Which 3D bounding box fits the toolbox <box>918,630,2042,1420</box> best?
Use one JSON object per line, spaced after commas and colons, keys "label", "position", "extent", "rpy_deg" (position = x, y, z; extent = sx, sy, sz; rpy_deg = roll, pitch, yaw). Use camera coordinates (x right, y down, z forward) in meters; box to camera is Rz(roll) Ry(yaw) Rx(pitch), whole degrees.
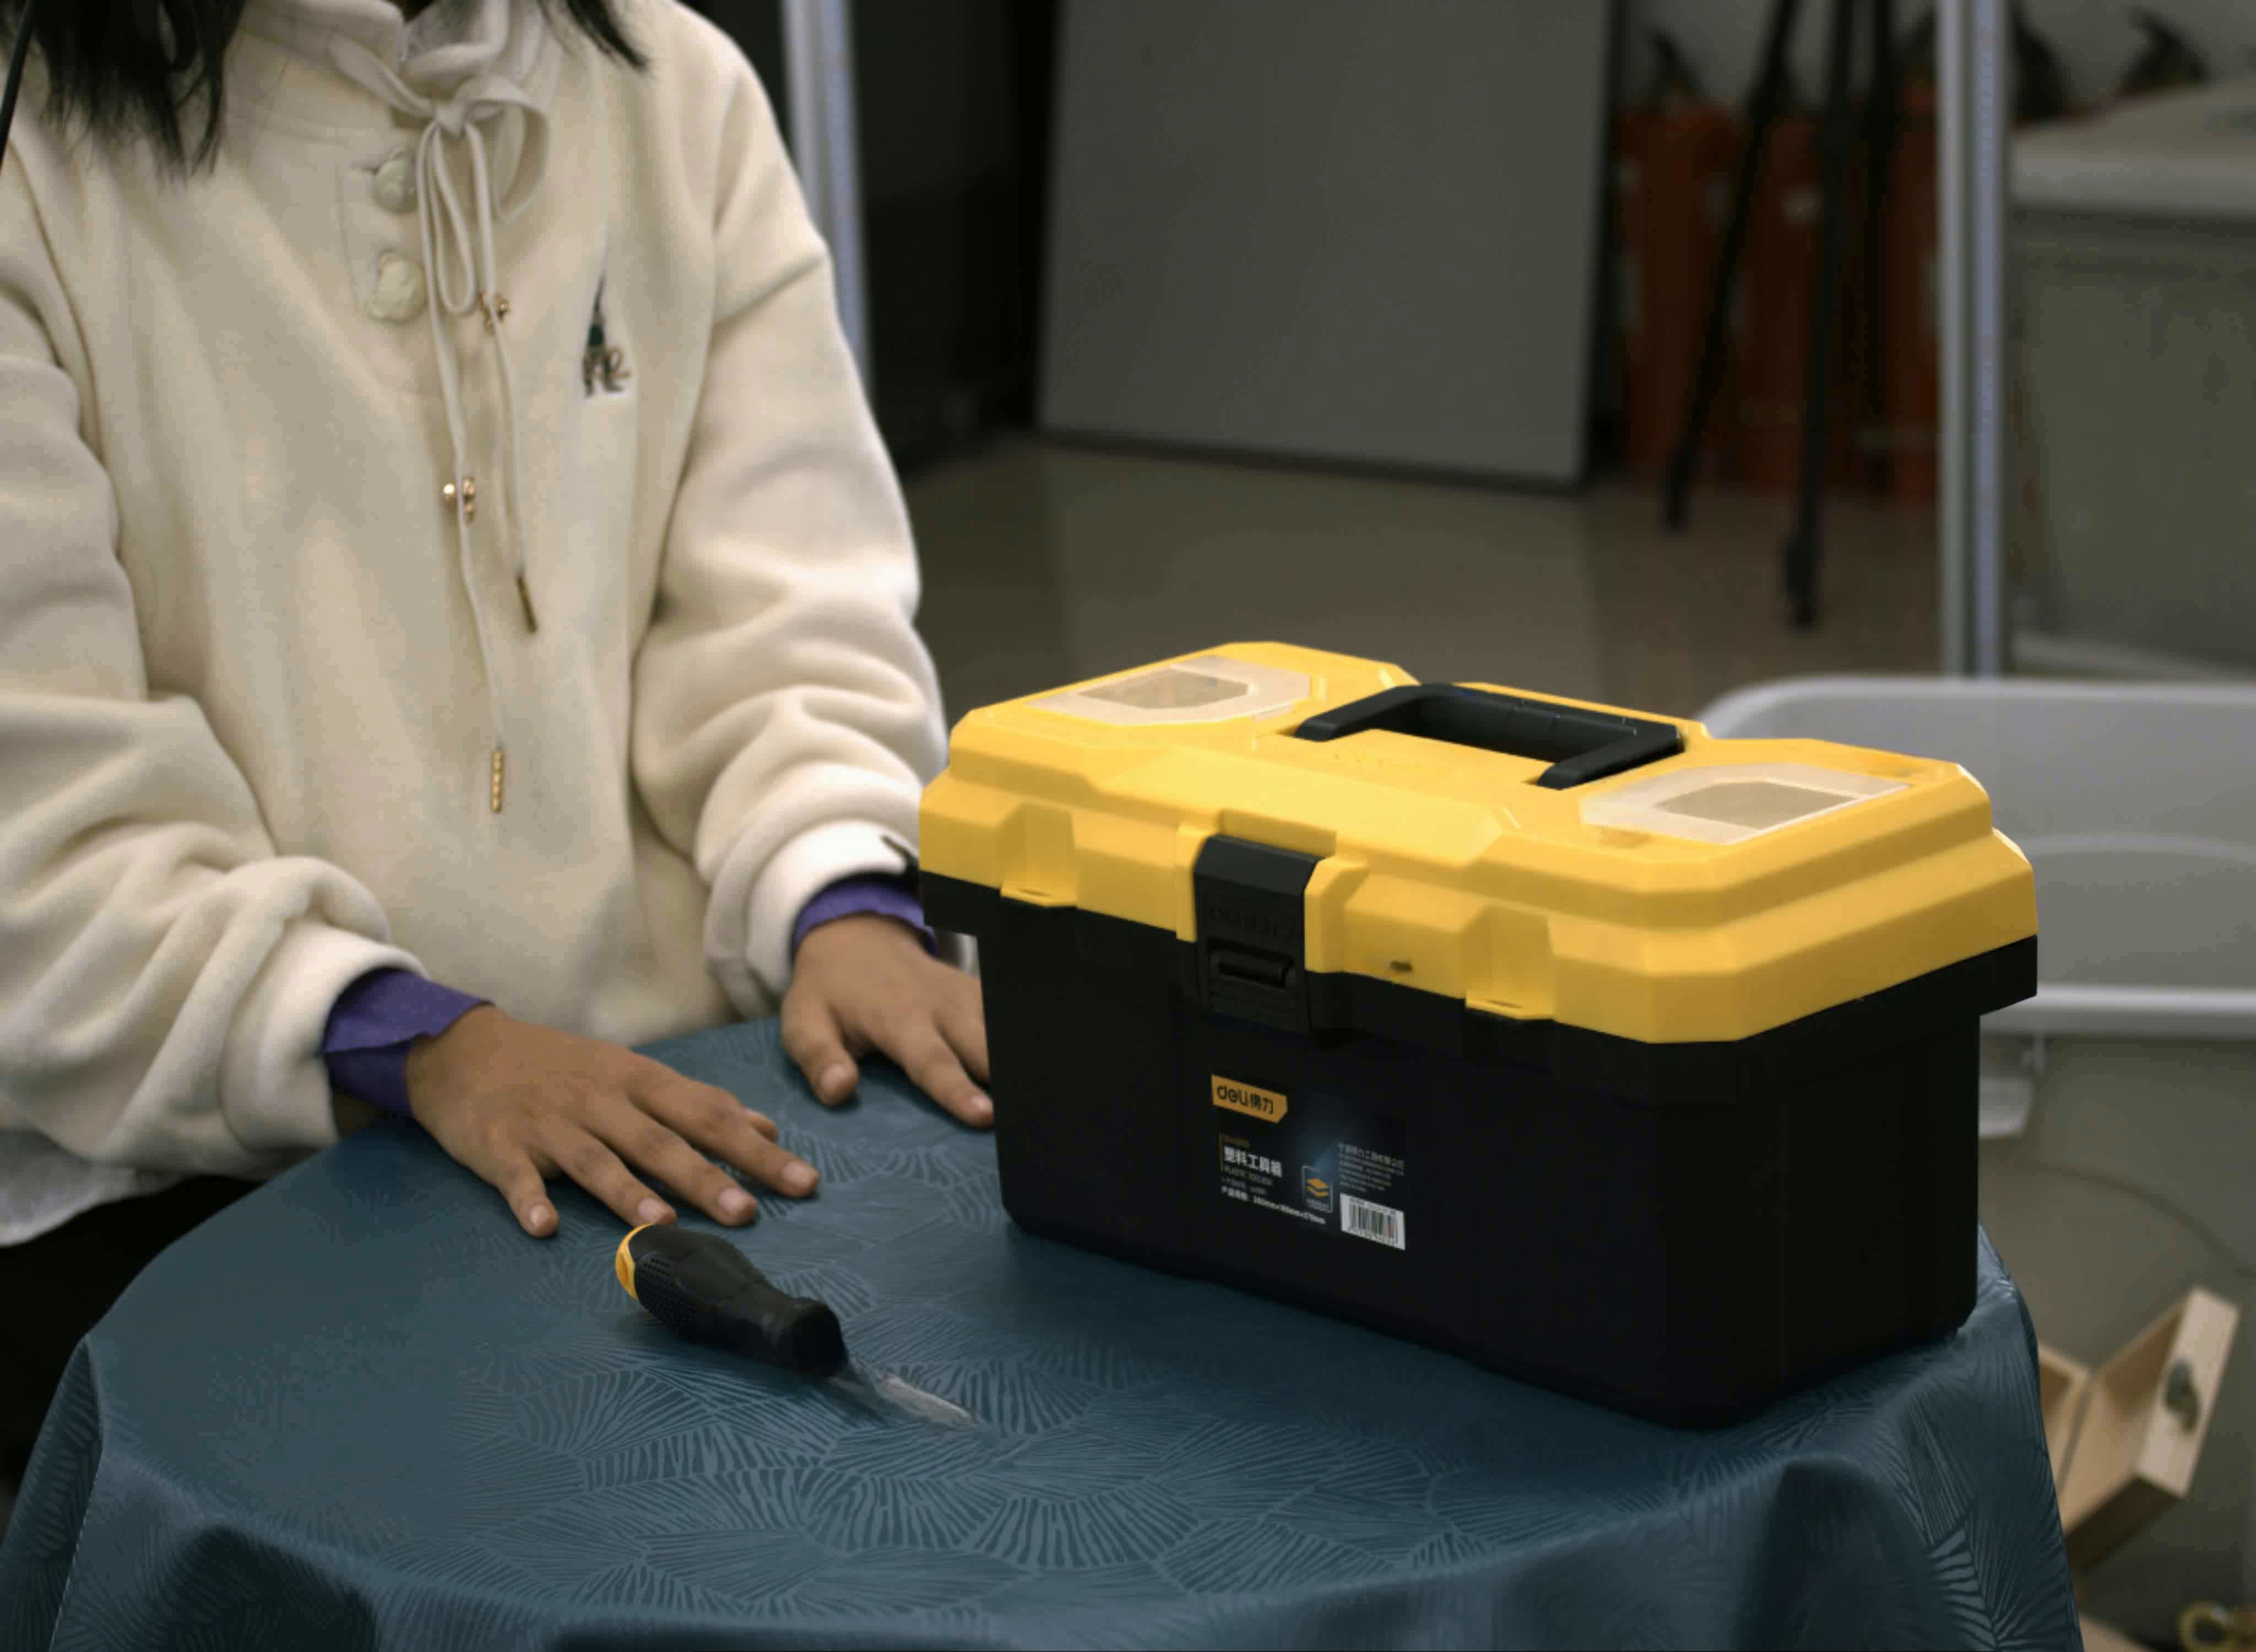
{"label": "toolbox", "position": [0.100, 0.053, 1.648], "extent": [0.177, 0.175, 0.355], "rpy_deg": [-15, 17, -38]}

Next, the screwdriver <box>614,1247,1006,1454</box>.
{"label": "screwdriver", "position": [-0.094, 0.162, 1.612], "extent": [0.031, 0.032, 0.200], "rpy_deg": [-13, 20, -34]}
